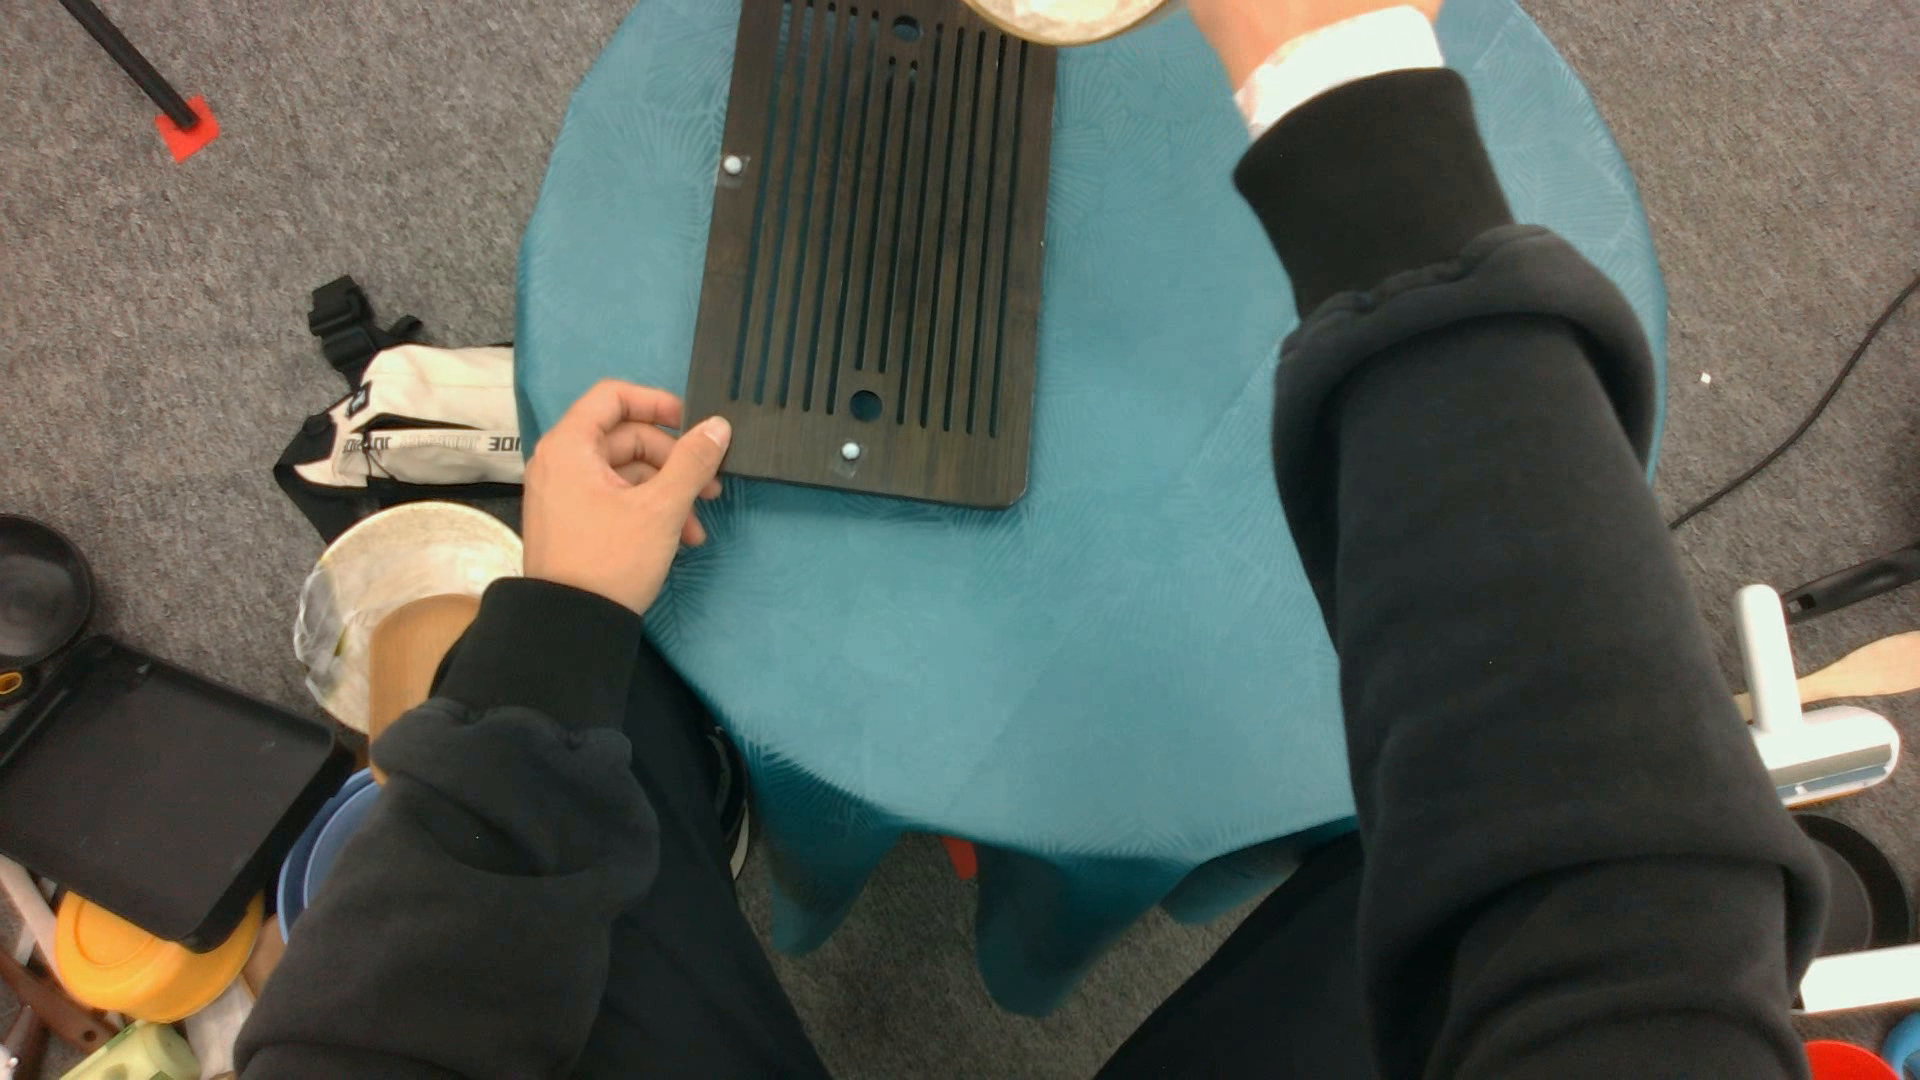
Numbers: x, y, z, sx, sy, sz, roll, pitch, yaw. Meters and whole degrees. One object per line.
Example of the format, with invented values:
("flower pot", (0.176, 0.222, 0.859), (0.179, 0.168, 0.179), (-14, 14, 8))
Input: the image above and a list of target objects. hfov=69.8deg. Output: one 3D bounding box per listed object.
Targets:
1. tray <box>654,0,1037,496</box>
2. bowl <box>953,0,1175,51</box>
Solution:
("tray", (-0.052, -0.174, 0.709), (0.170, 0.018, 0.307), (7, 73, -9))
("bowl", (0.059, -0.297, 0.525), (0.095, 0.213, 0.215), (-25, 73, -41))
